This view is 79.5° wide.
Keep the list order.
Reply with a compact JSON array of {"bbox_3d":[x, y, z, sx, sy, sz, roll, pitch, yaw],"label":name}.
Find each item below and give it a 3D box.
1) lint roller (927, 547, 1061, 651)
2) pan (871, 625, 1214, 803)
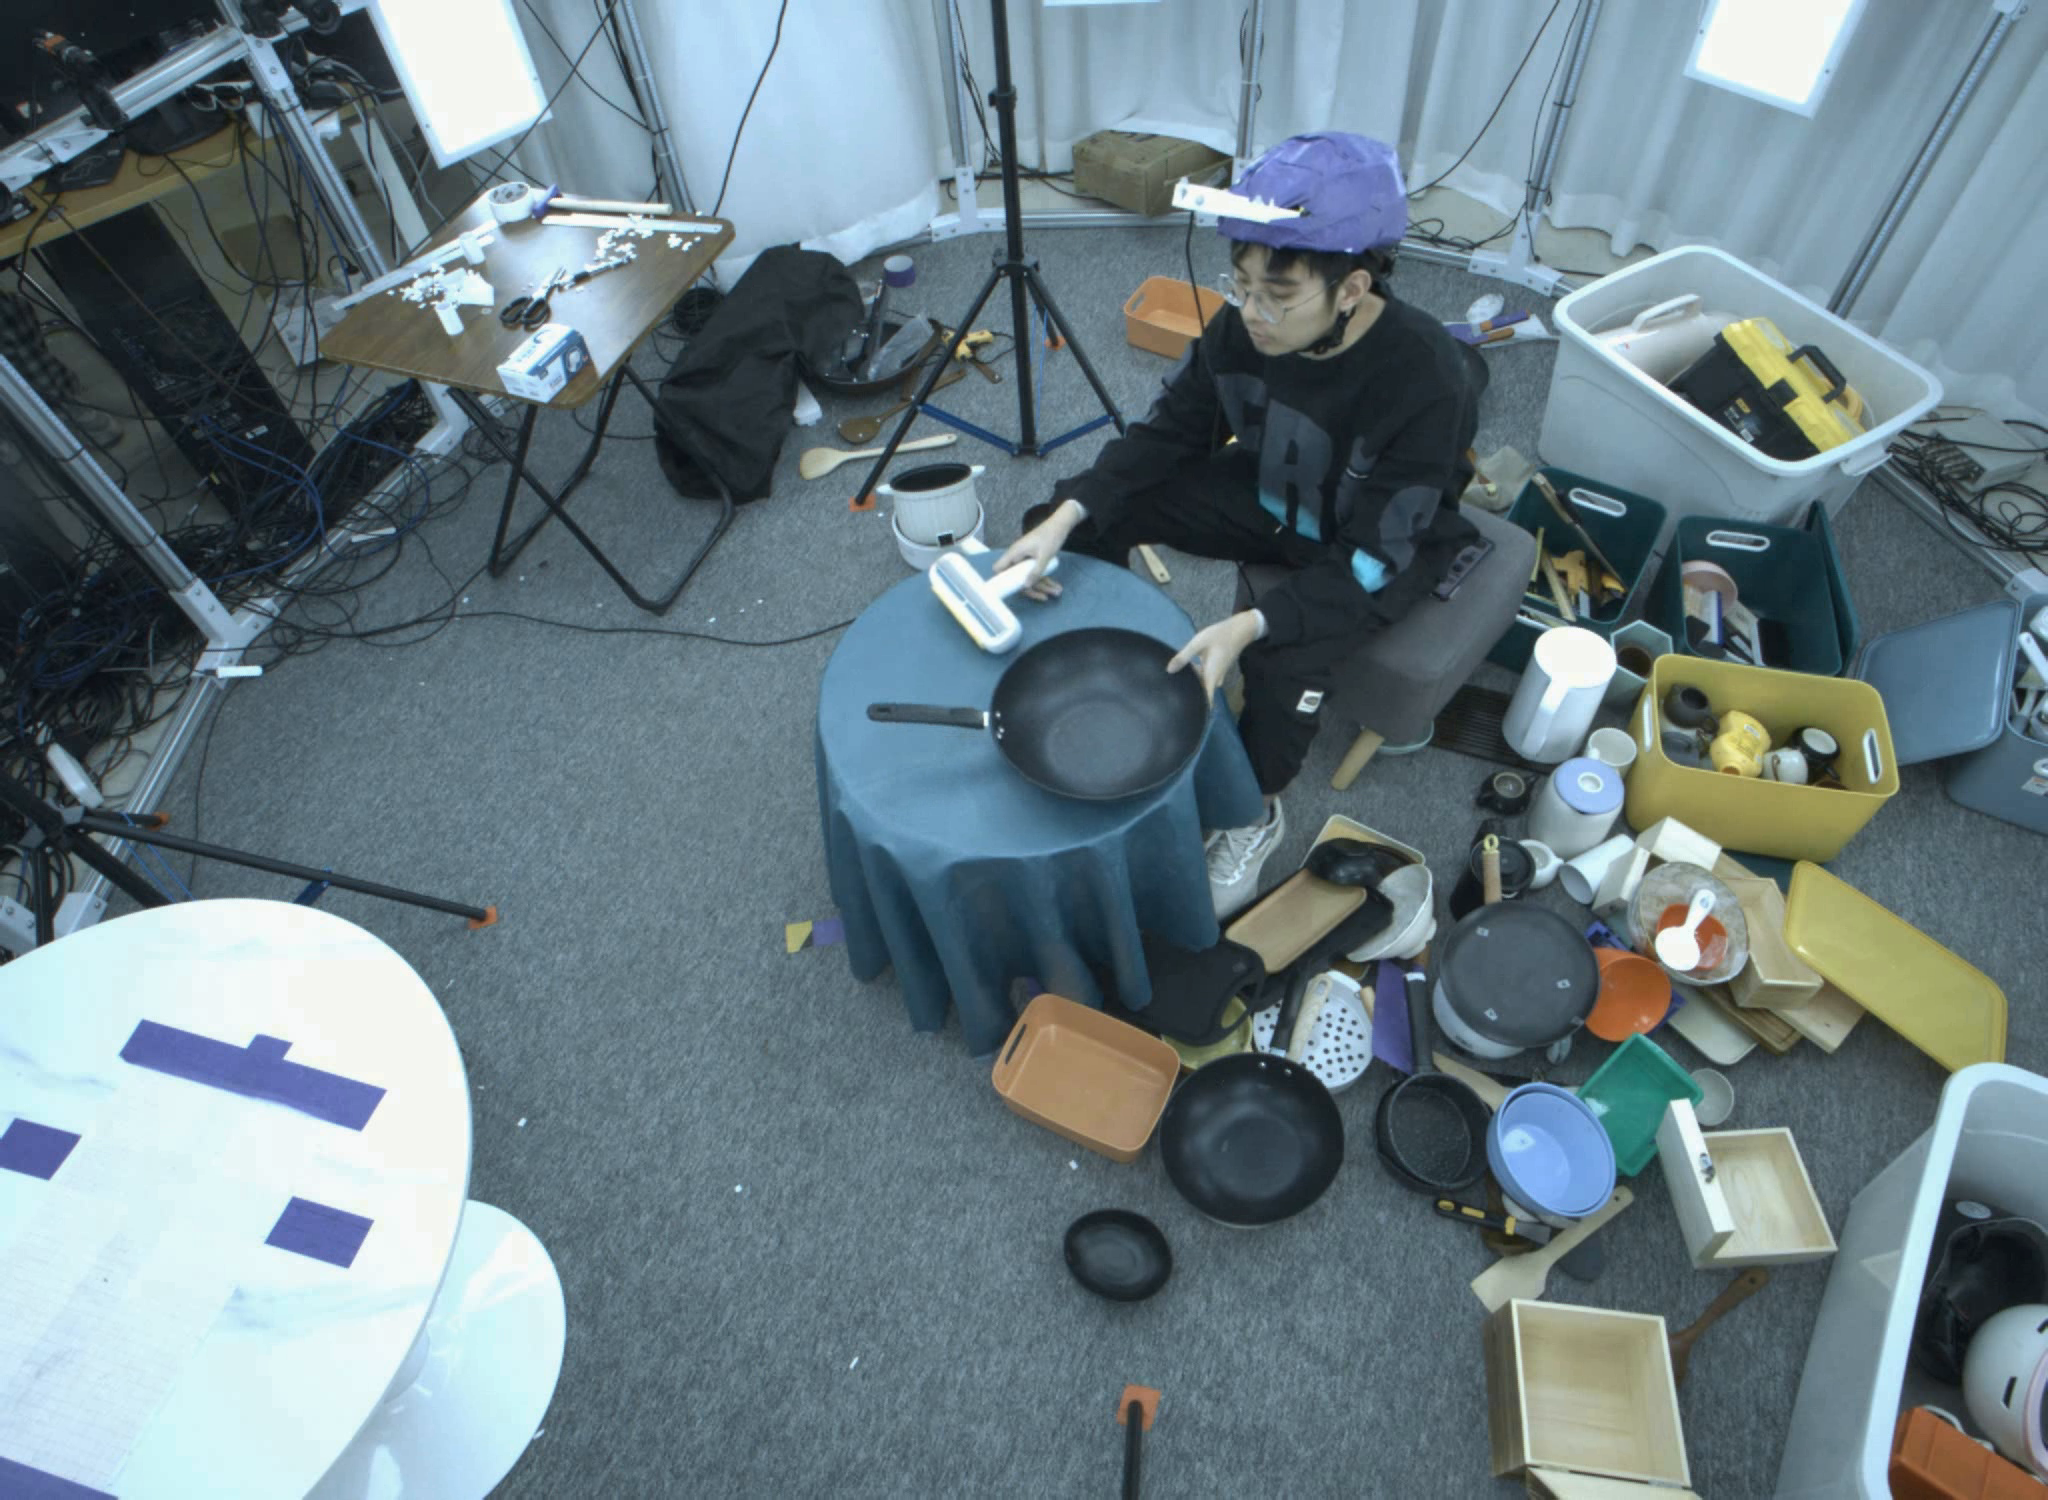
[{"bbox_3d":[-0.031,-0.263,1.913,0.193,0.075,0.189,-34,63,-5],"label":"lint roller"},{"bbox_3d":[0.029,-0.037,1.742,0.477,0.113,0.306,-5,53,-1],"label":"pan"}]
